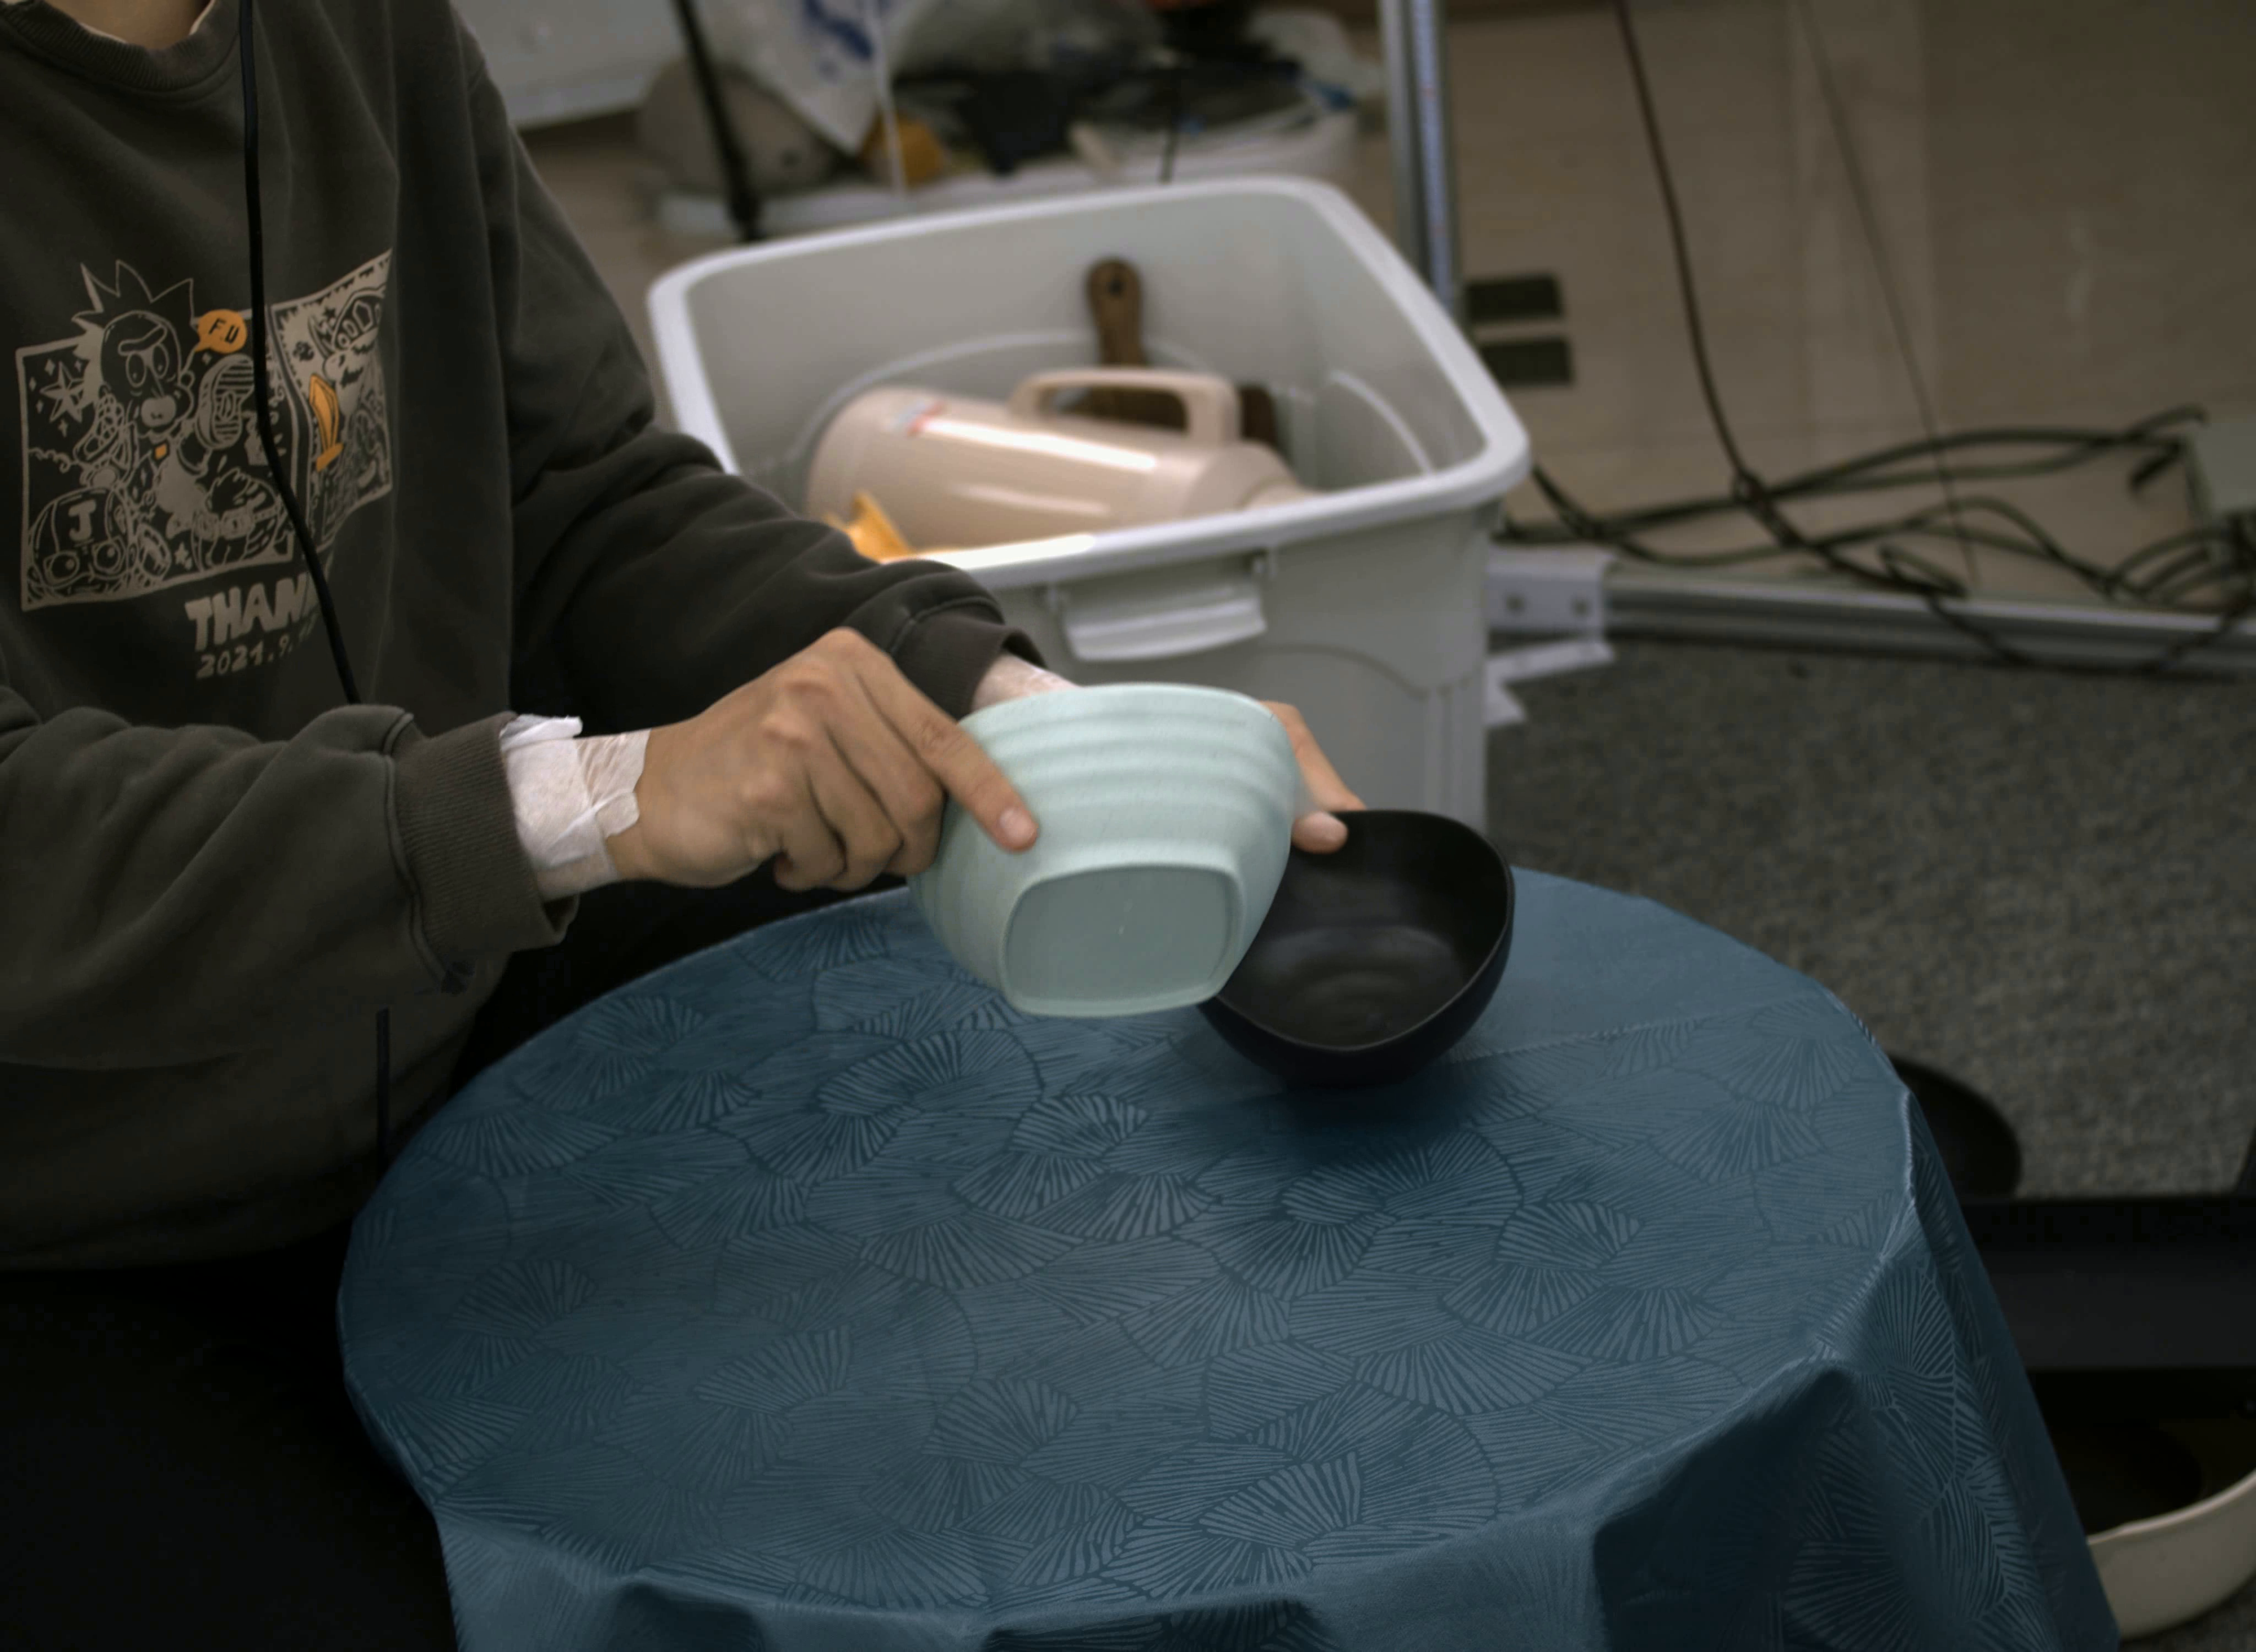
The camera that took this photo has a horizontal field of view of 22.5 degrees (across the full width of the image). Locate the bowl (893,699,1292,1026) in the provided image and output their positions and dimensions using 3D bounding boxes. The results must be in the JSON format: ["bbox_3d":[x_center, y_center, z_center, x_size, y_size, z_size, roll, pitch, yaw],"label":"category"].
[{"bbox_3d":[-0.010,0.021,1.950,0.151,0.154,0.057,-6,54,0],"label":"bowl"}]

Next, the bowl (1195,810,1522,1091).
[{"bbox_3d":[0.089,0.057,2.217,0.137,0.068,0.167,-10,30,-1],"label":"bowl"}]
